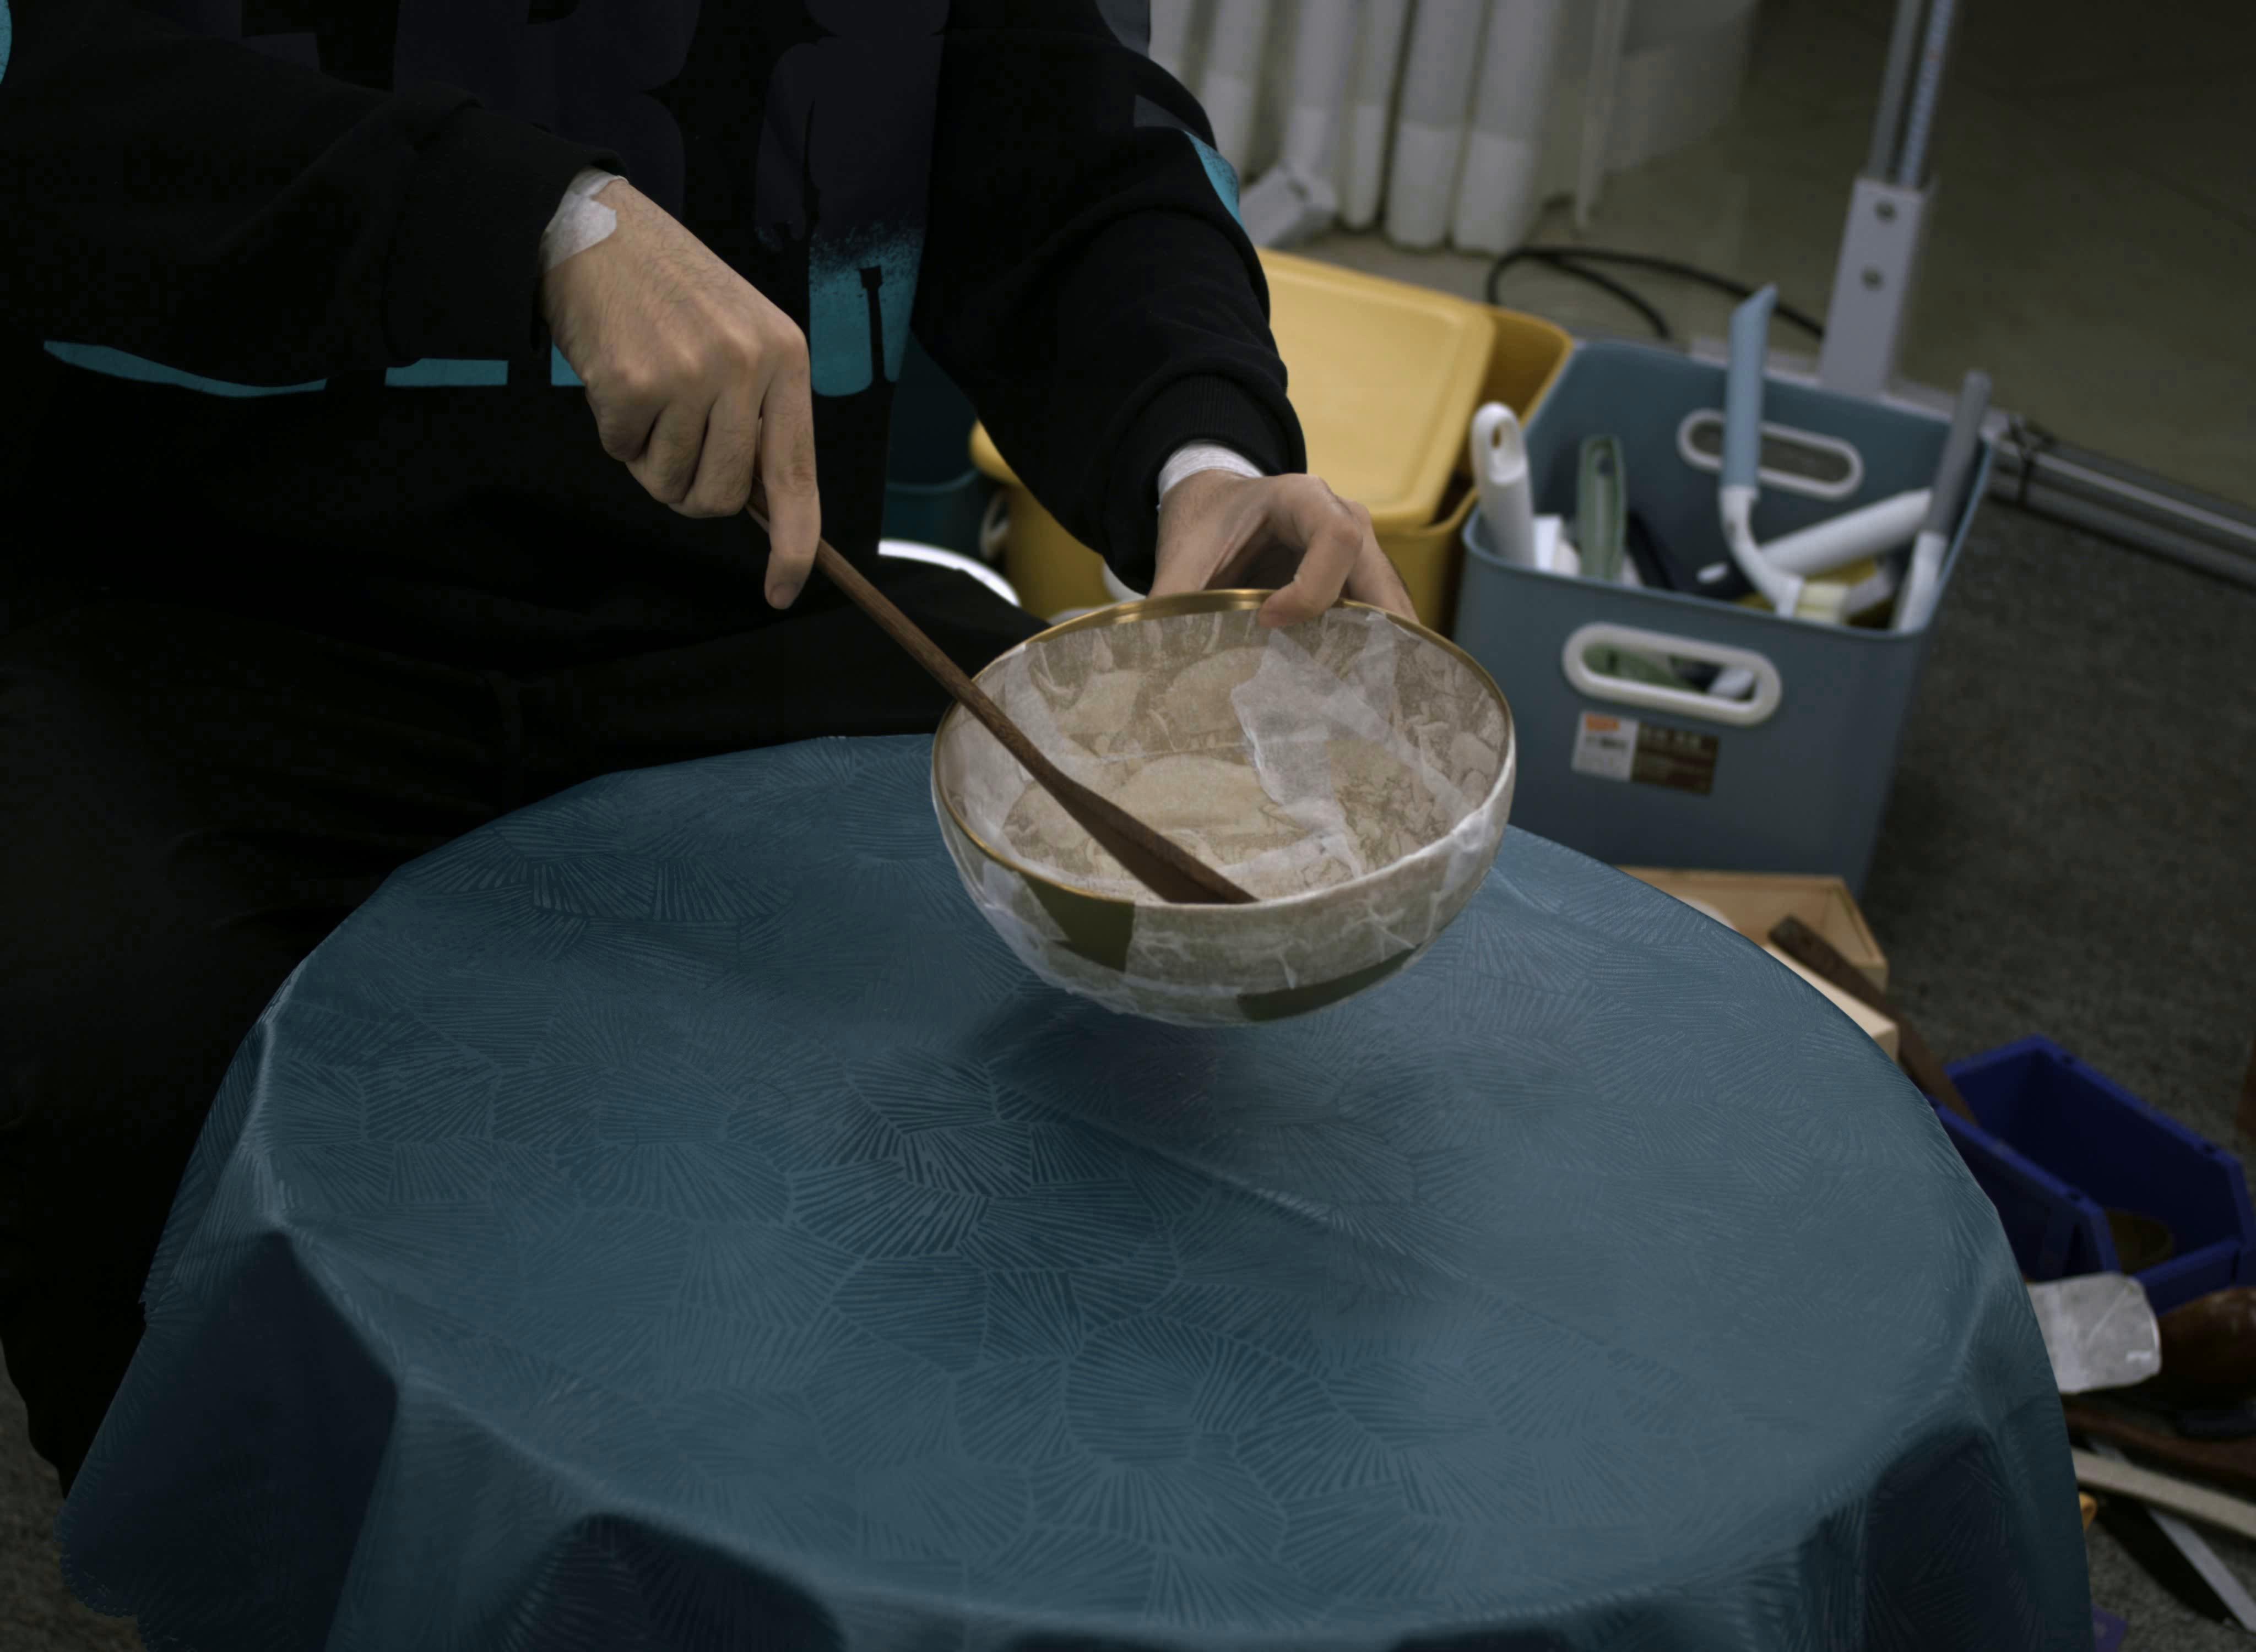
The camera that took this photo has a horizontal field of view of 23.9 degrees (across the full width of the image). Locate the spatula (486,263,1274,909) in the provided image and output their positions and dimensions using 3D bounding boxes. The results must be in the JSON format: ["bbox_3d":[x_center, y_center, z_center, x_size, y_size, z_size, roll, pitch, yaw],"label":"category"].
[{"bbox_3d":[-0.085,-0.074,1.843,0.387,0.095,0.016,42,81,14],"label":"spatula"}]

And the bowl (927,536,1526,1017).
[{"bbox_3d":[0.034,-0.004,1.832,0.214,0.094,0.216,-1,41,0],"label":"bowl"}]
